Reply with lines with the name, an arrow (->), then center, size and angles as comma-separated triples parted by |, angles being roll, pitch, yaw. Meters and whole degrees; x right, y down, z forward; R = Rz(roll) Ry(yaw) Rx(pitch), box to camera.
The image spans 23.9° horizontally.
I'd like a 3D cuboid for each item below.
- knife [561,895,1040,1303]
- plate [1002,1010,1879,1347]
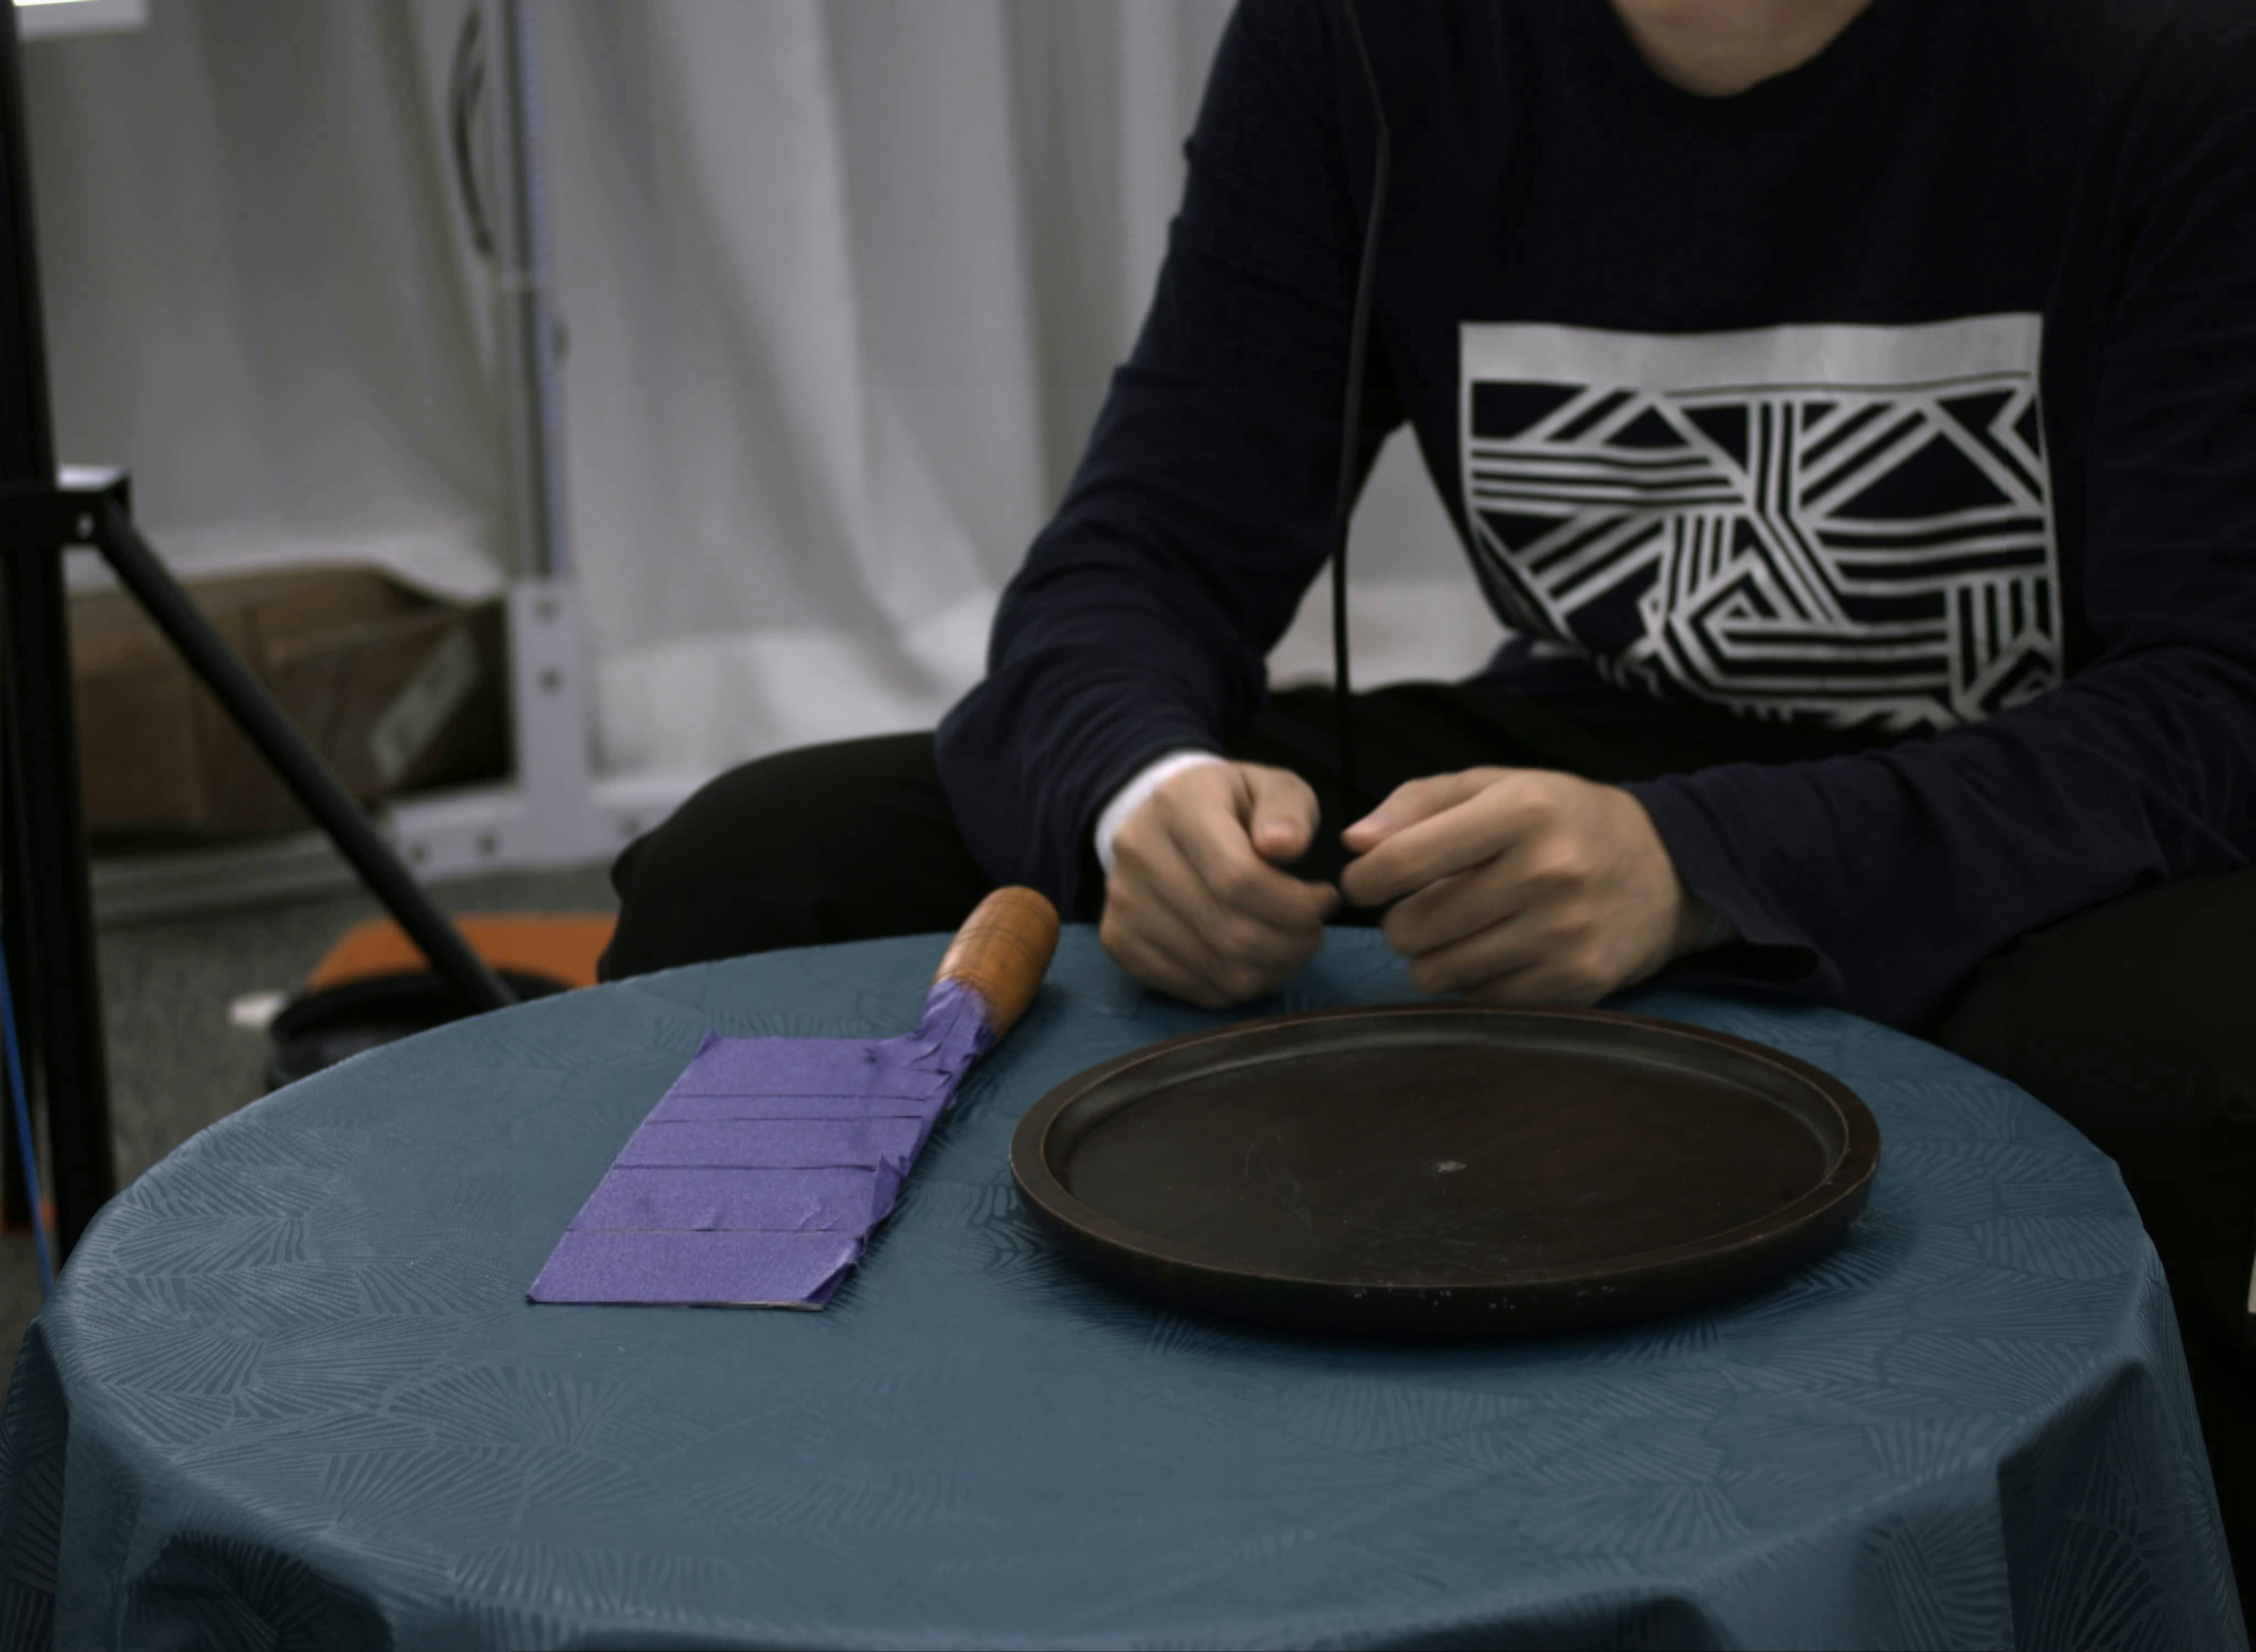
knife -> -0.097, 0.080, 1.627 | 0.104, 0.032, 0.314 | 1, 16, 10
plate -> 0.090, 0.099, 1.536 | 0.253, 0.029, 0.256 | -3, 17, -1
